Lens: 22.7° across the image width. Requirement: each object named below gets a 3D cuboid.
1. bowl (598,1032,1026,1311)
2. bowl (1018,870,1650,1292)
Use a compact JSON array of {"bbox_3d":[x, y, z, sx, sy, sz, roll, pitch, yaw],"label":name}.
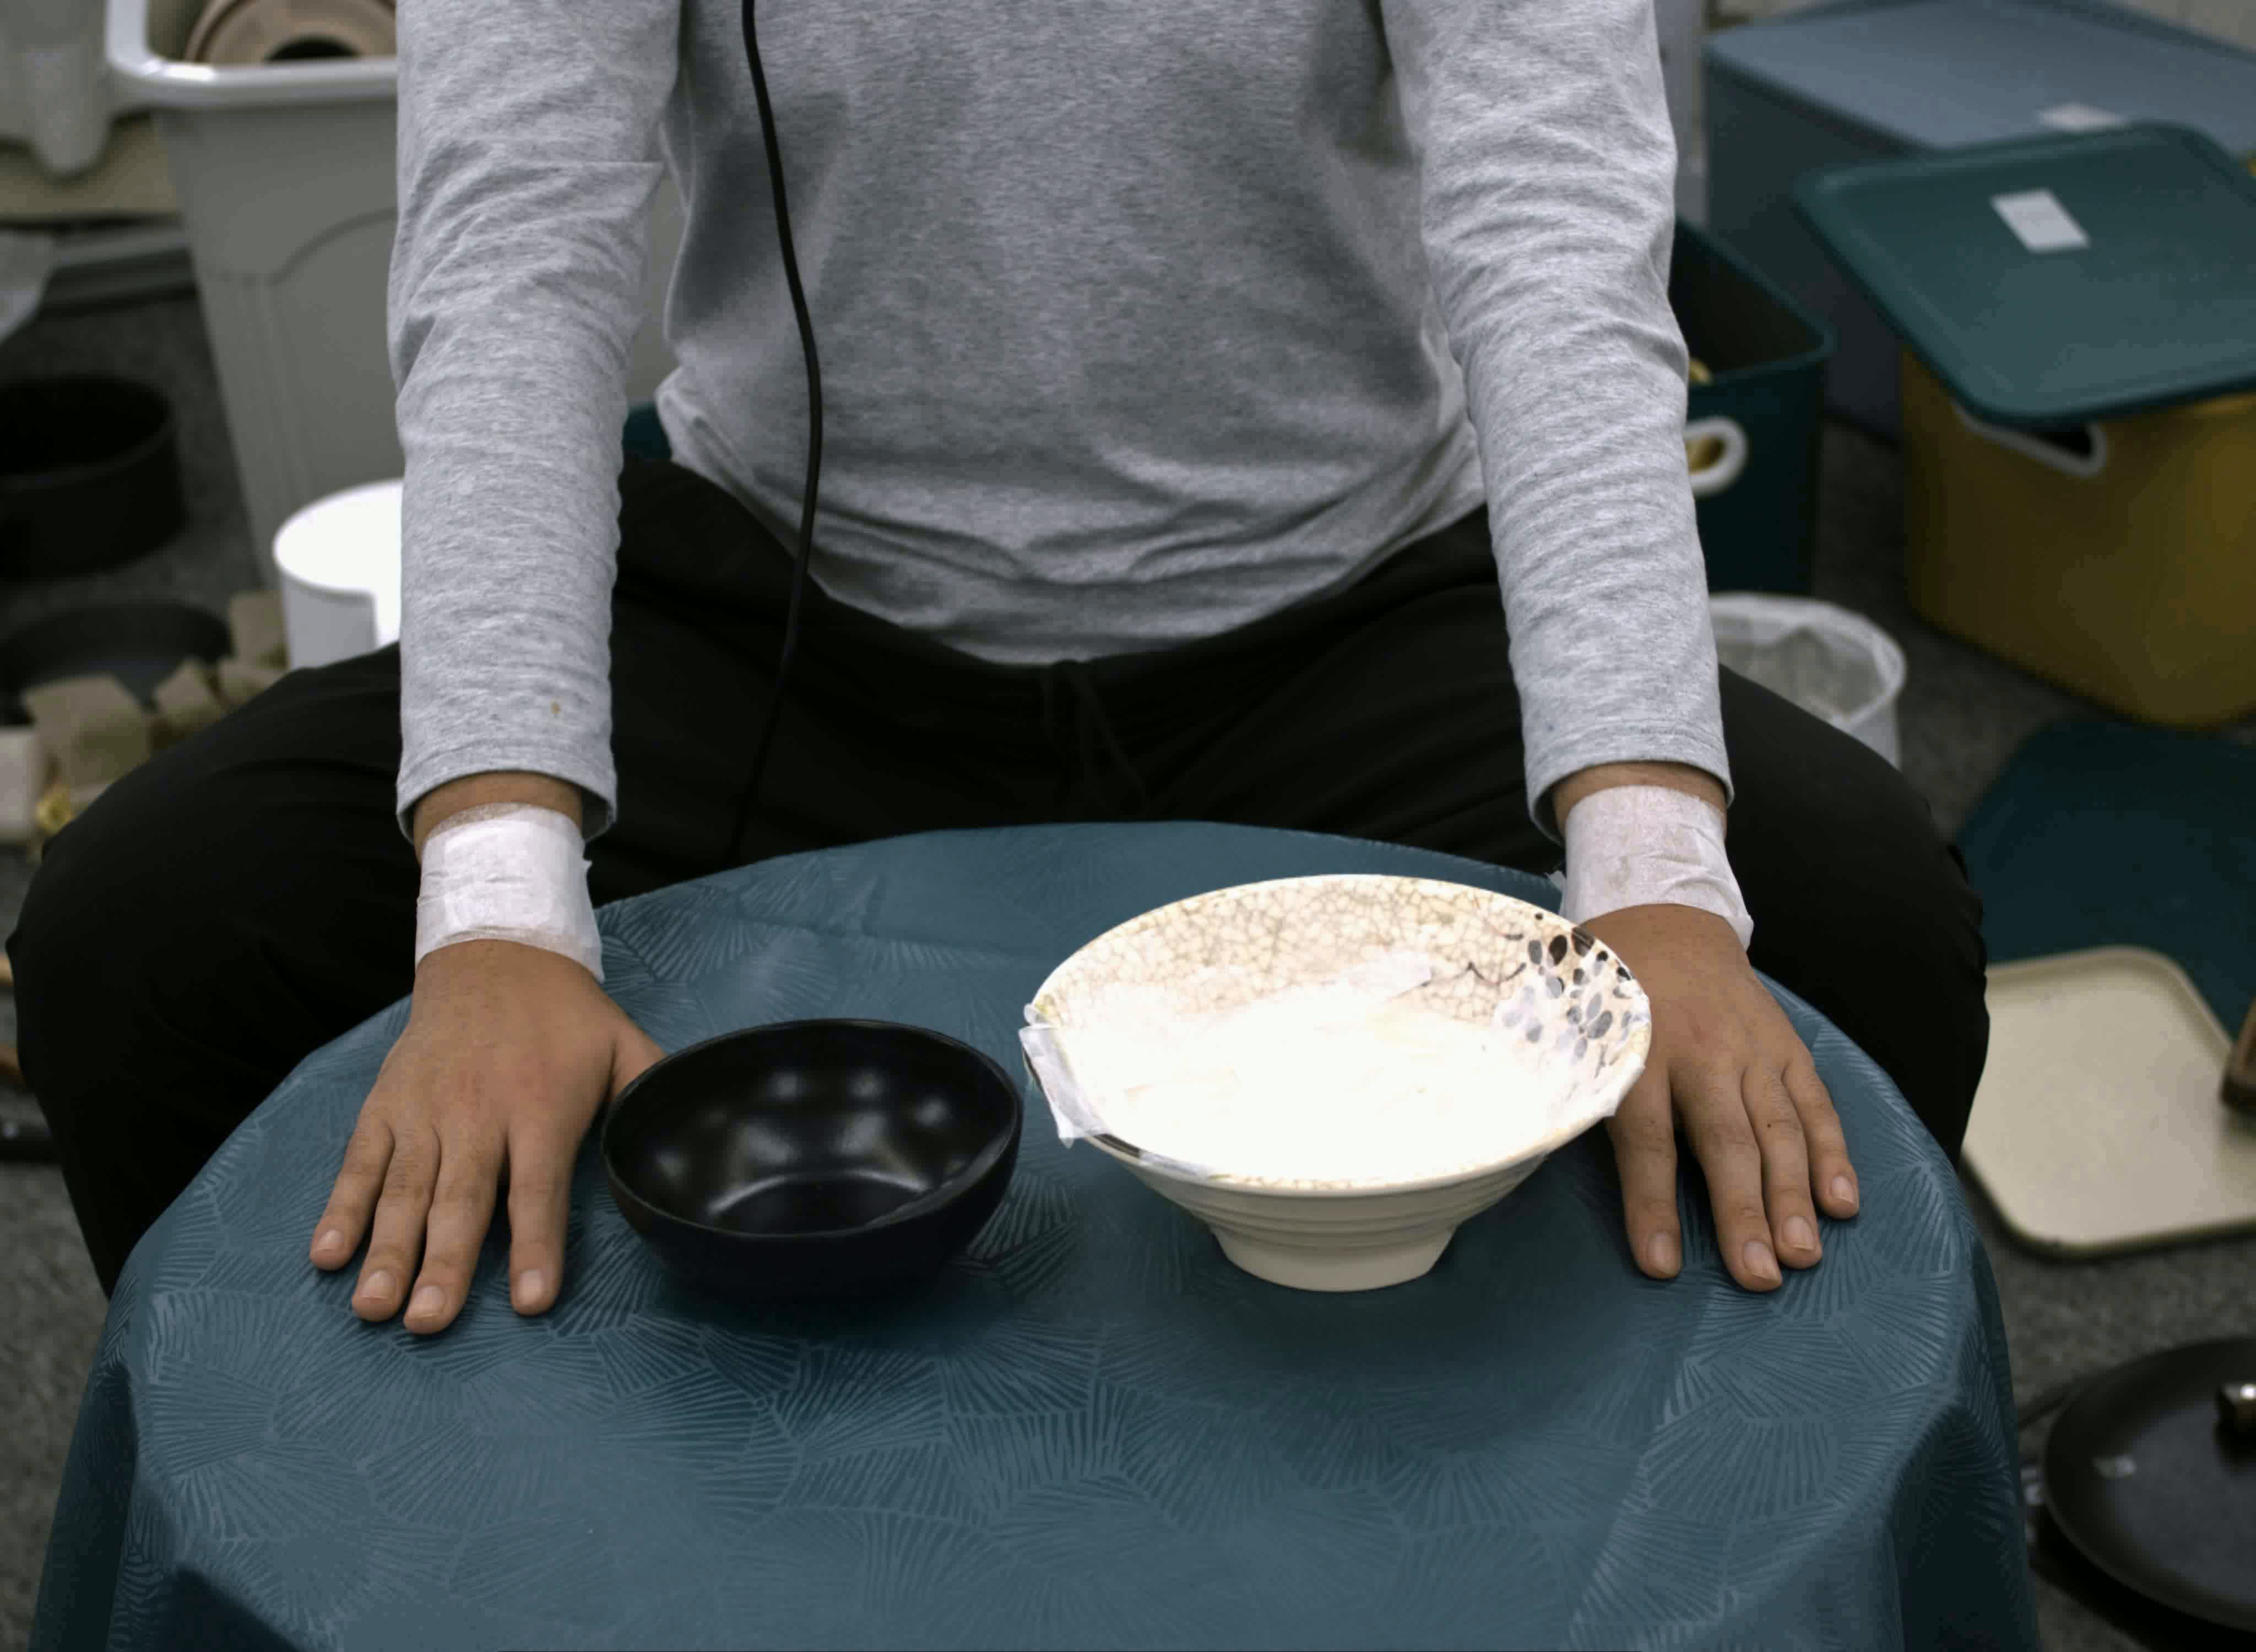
[{"bbox_3d":[-0.102,0.120,1.827,0.139,0.049,0.142,0,24,1],"label":"bowl"},{"bbox_3d":[0.067,0.096,1.820,0.203,0.077,0.207,-2,27,1],"label":"bowl"}]
